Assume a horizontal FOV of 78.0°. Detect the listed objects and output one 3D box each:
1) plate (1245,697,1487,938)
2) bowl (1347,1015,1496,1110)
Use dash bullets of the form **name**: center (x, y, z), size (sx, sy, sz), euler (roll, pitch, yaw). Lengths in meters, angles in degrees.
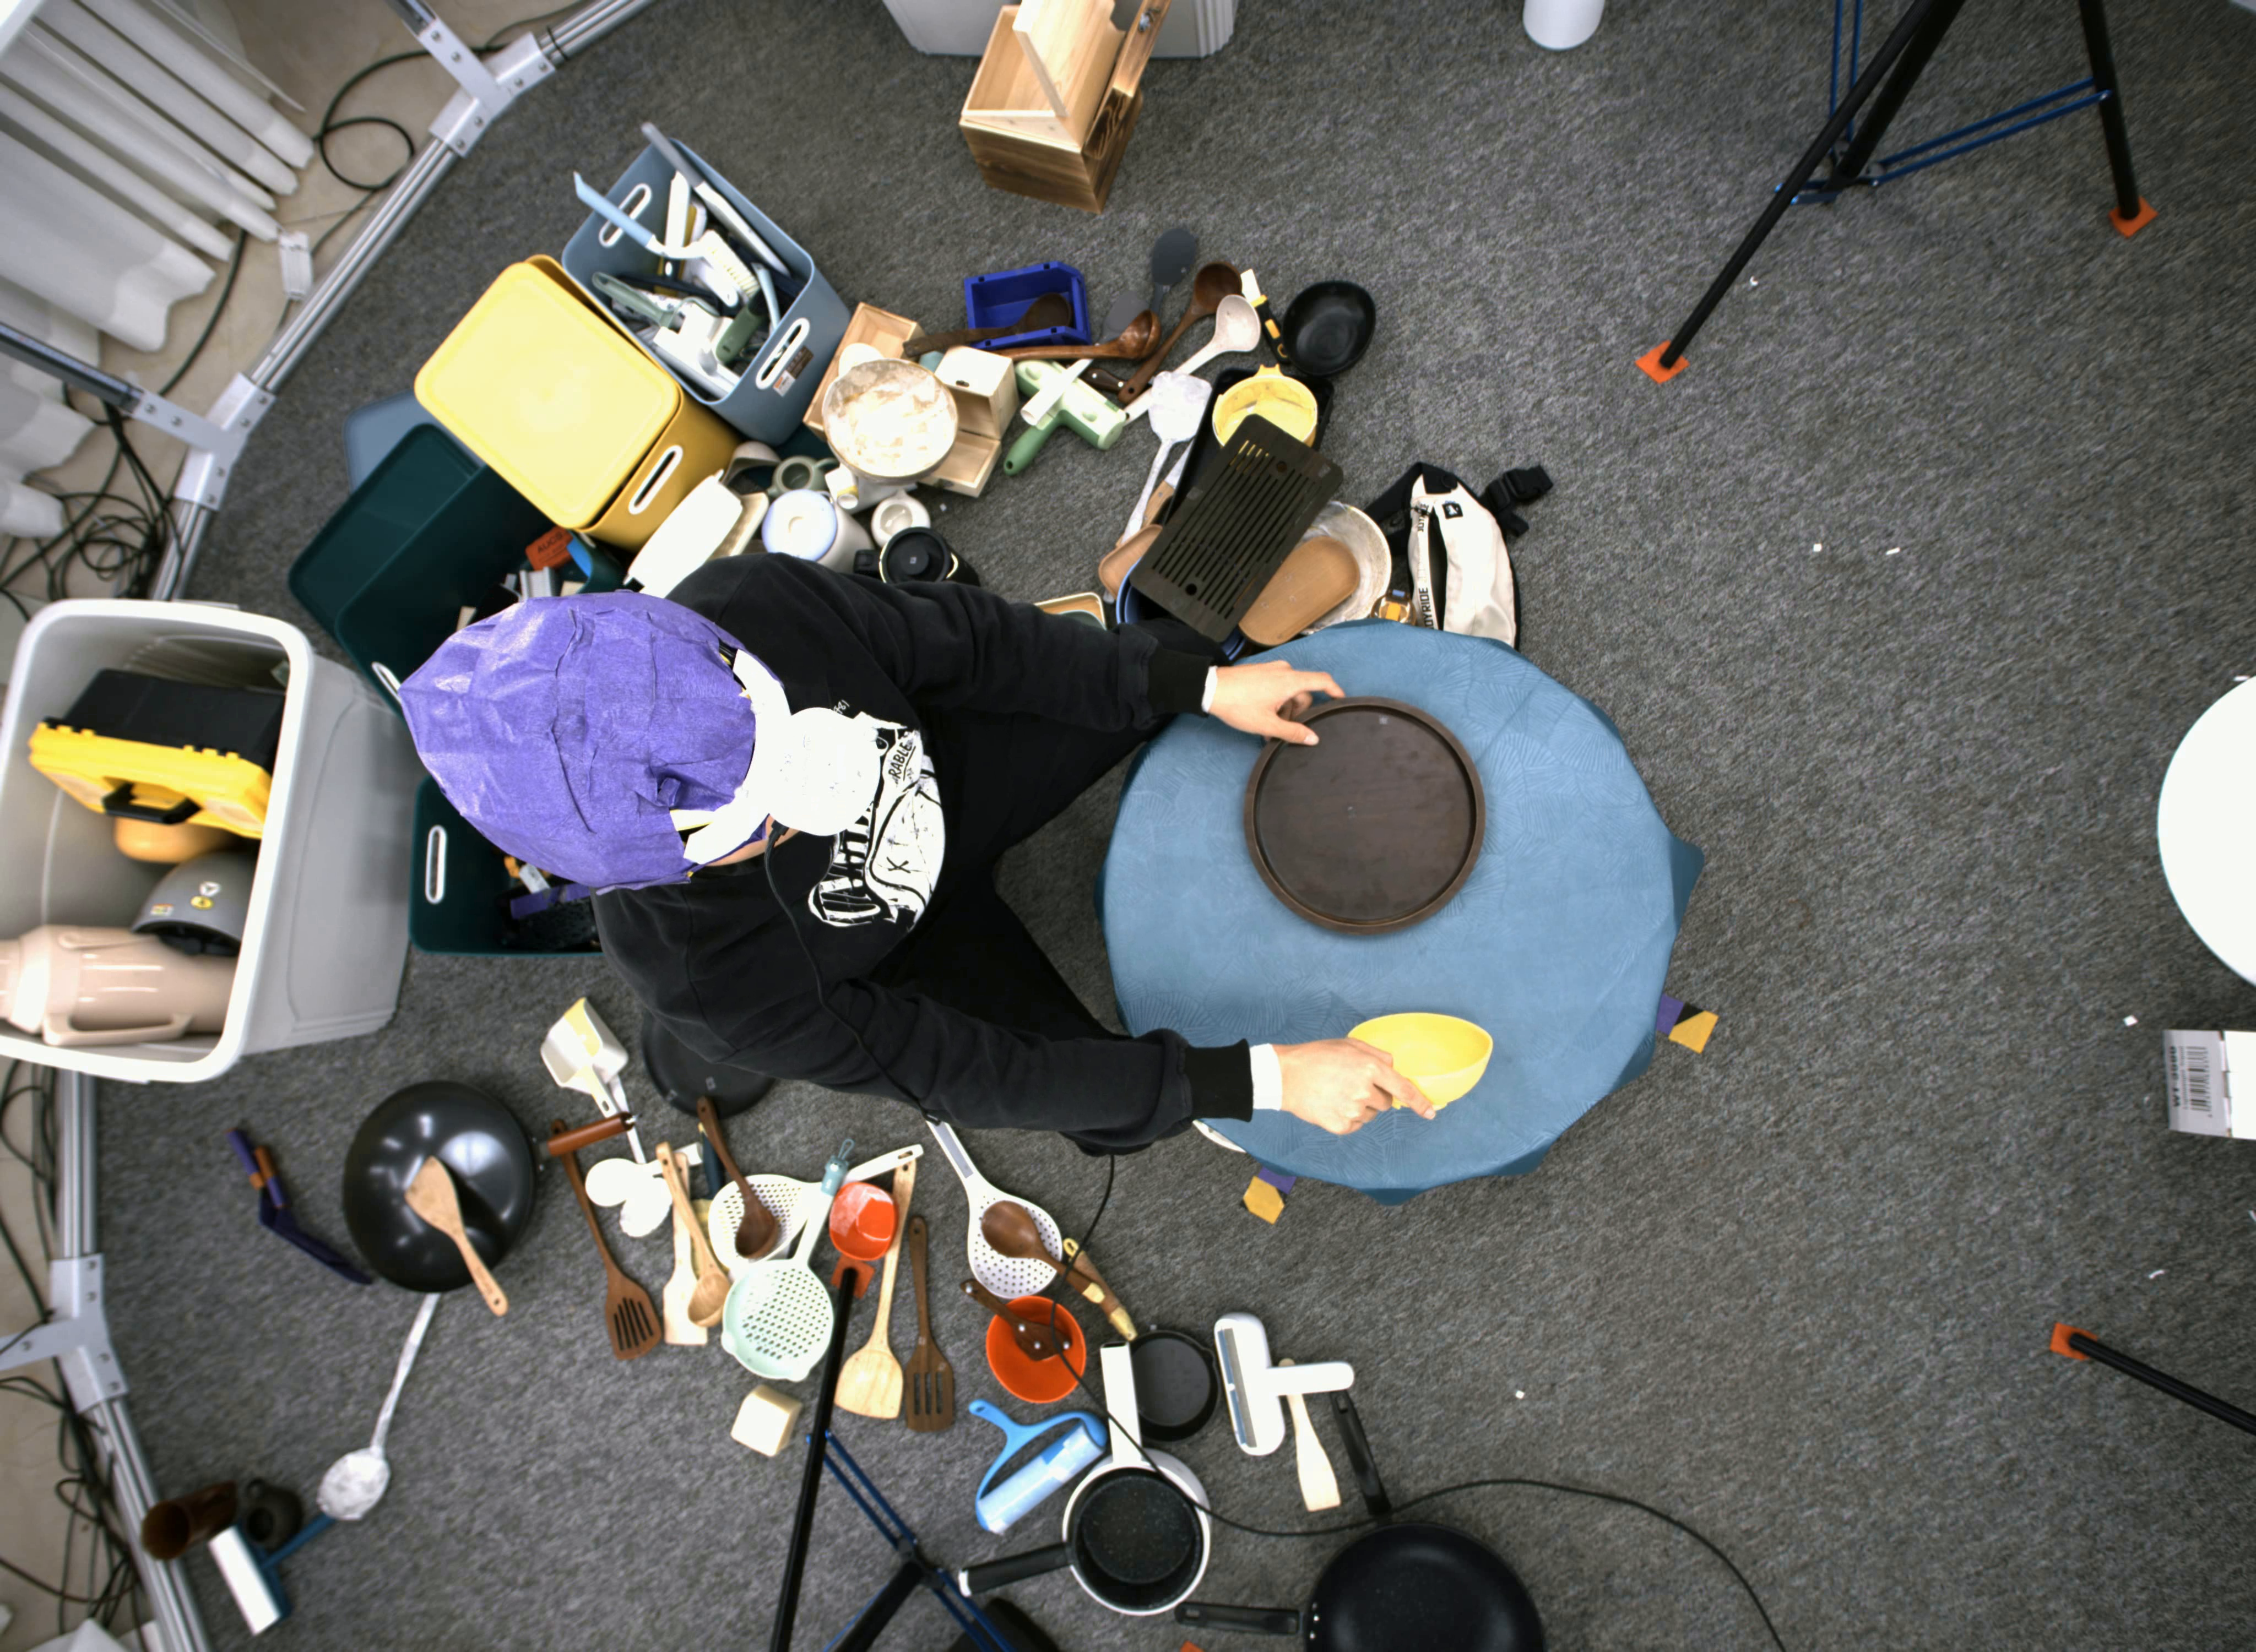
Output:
- **plate**: center (0.250, -0.010, 1.457), size (0.256, 0.029, 0.254), euler (0, 90, 9)
- **bowl**: center (0.289, 0.238, 1.368), size (0.146, 0.143, 0.061), euler (0, 105, 10)
